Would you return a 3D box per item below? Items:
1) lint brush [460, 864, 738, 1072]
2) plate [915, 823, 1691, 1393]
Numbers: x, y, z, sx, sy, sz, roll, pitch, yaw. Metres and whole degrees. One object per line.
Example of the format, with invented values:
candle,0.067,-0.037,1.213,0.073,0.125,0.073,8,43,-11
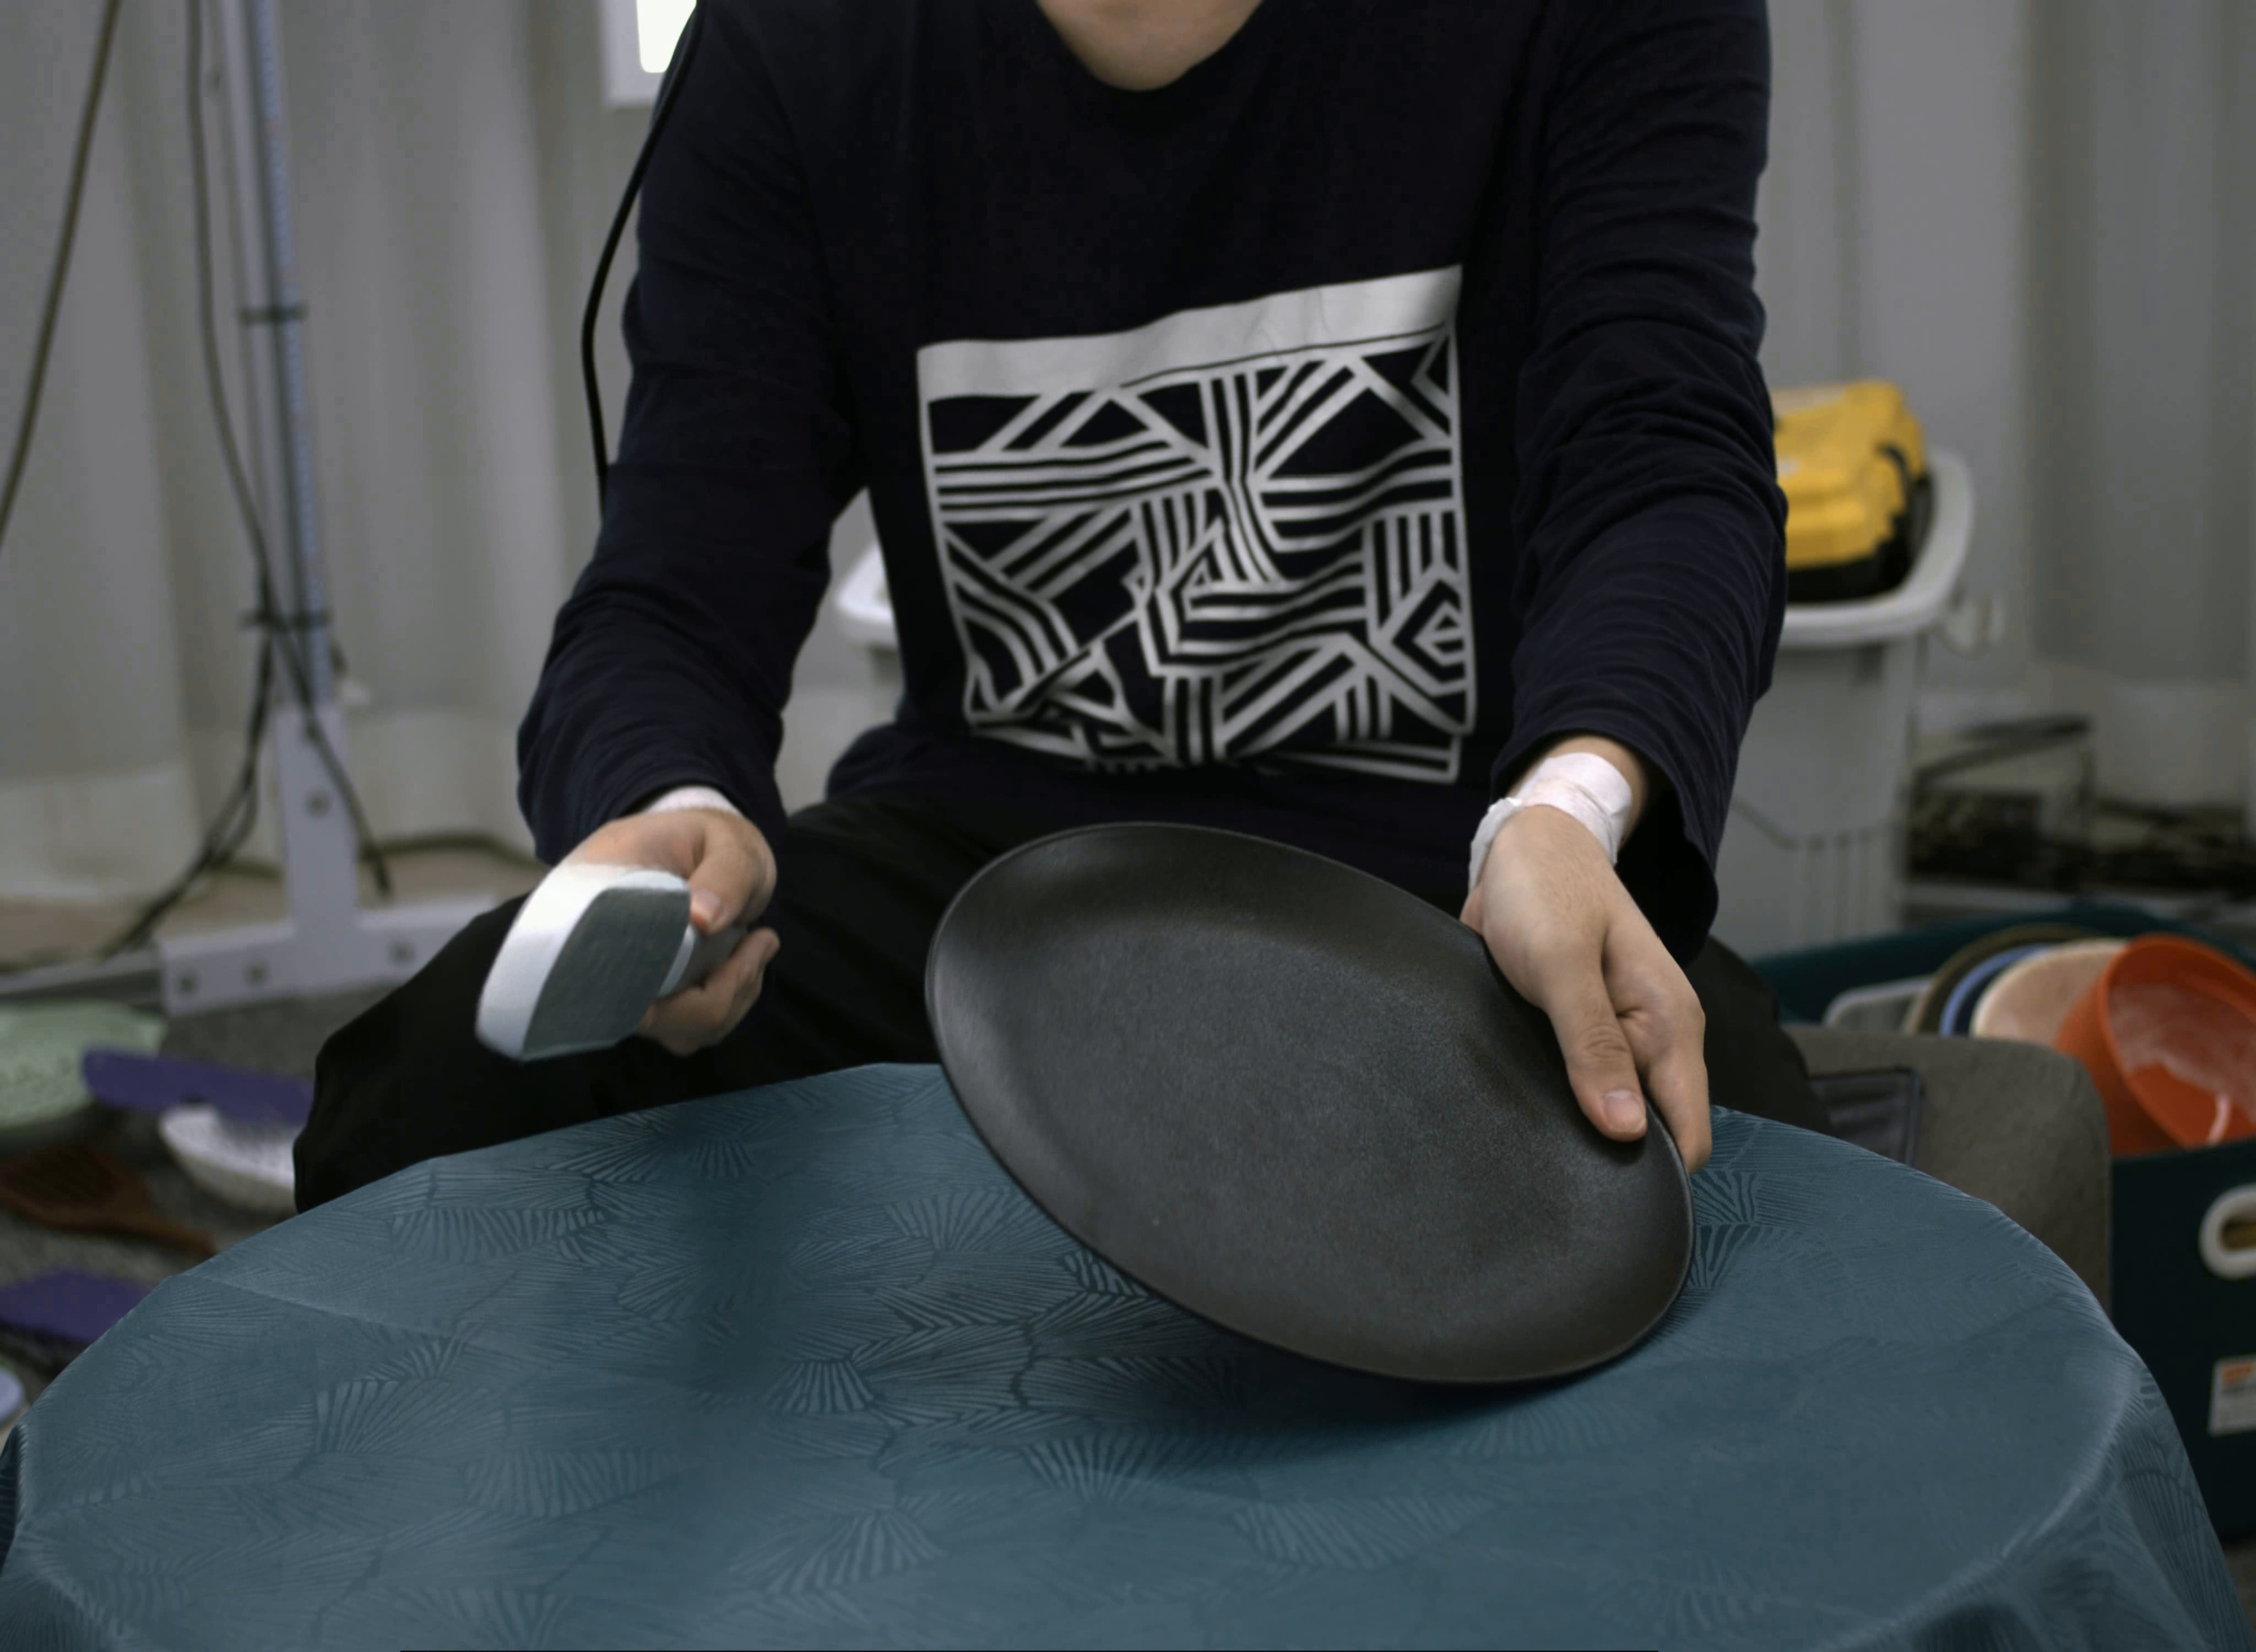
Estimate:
lint brush,-0.155,0.041,1.666,0.021,0.060,0.308,21,2,6
plate,0.049,0.085,1.602,0.243,0.023,0.248,16,34,-11
